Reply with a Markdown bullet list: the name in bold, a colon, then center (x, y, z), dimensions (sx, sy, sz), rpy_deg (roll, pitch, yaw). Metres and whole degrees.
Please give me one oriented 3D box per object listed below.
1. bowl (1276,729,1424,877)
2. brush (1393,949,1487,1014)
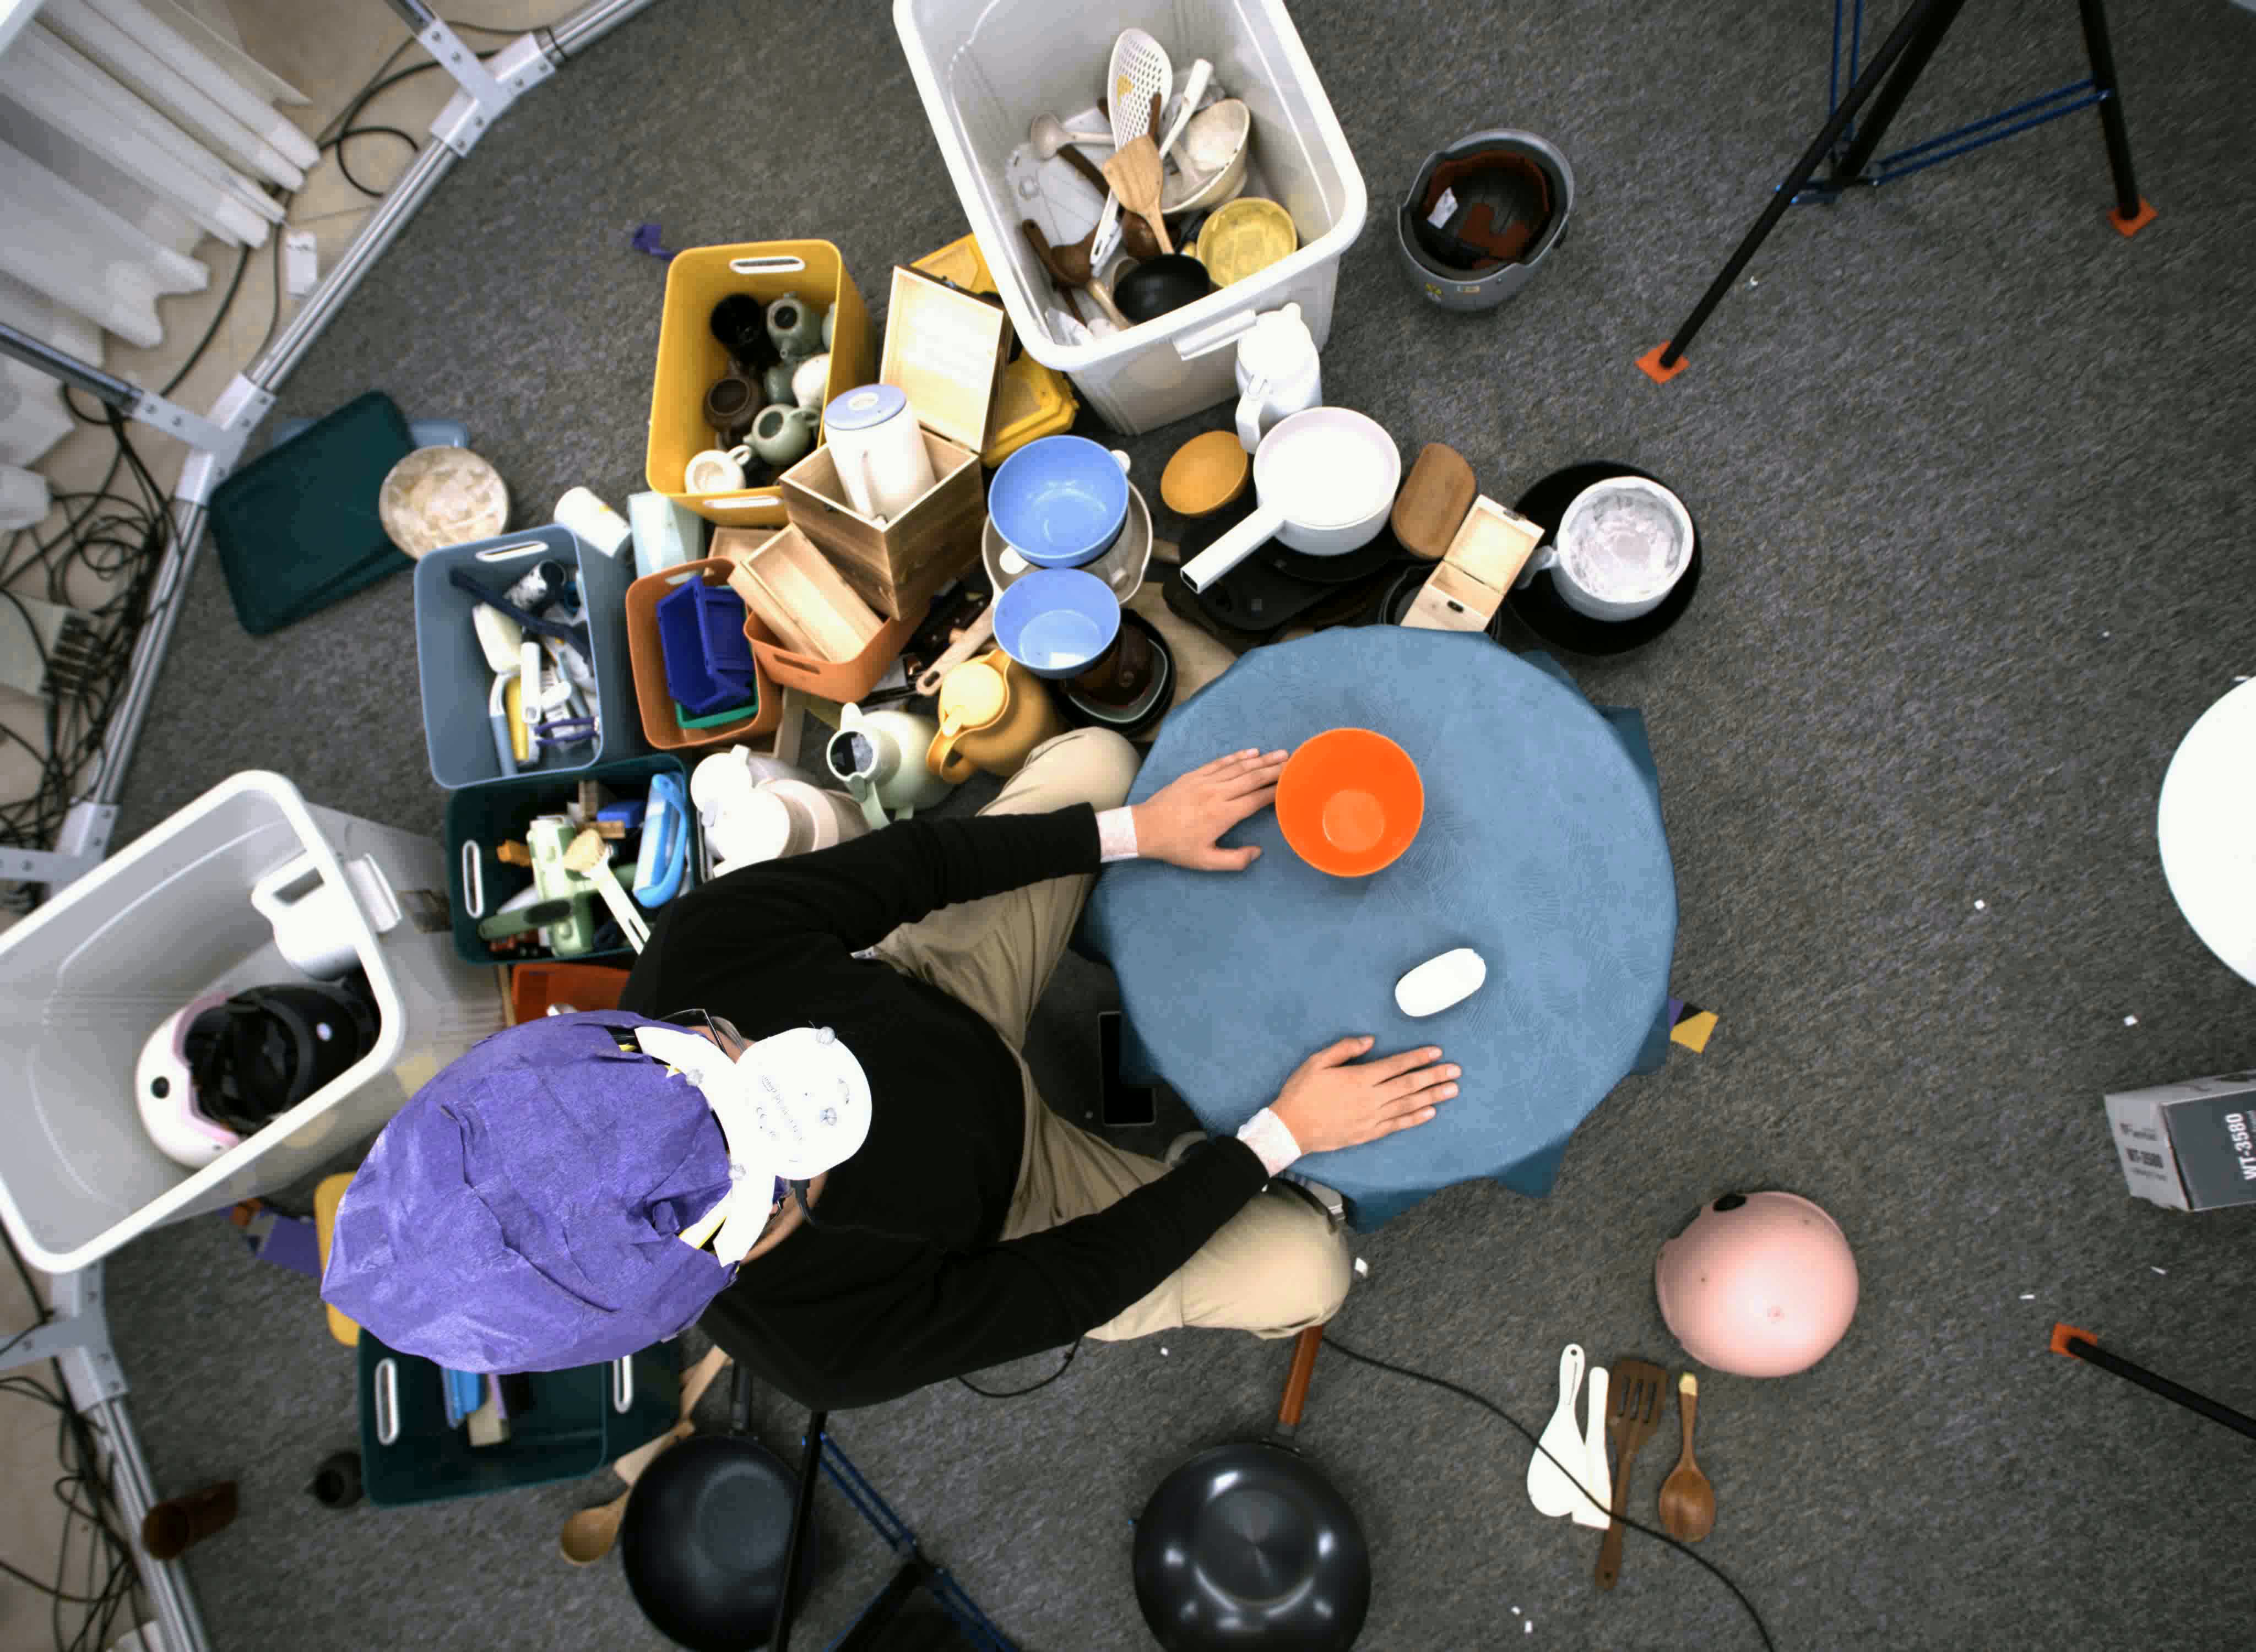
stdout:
- **bowl**: center (0.230, -0.021, 1.424), dimensions (0.148, 0.104, 0.147), rpy_deg (-1, 87, 11)
- **brush**: center (0.318, 0.158, 1.409), dimensions (0.100, 0.072, 0.050), rpy_deg (-25, 82, 7)
